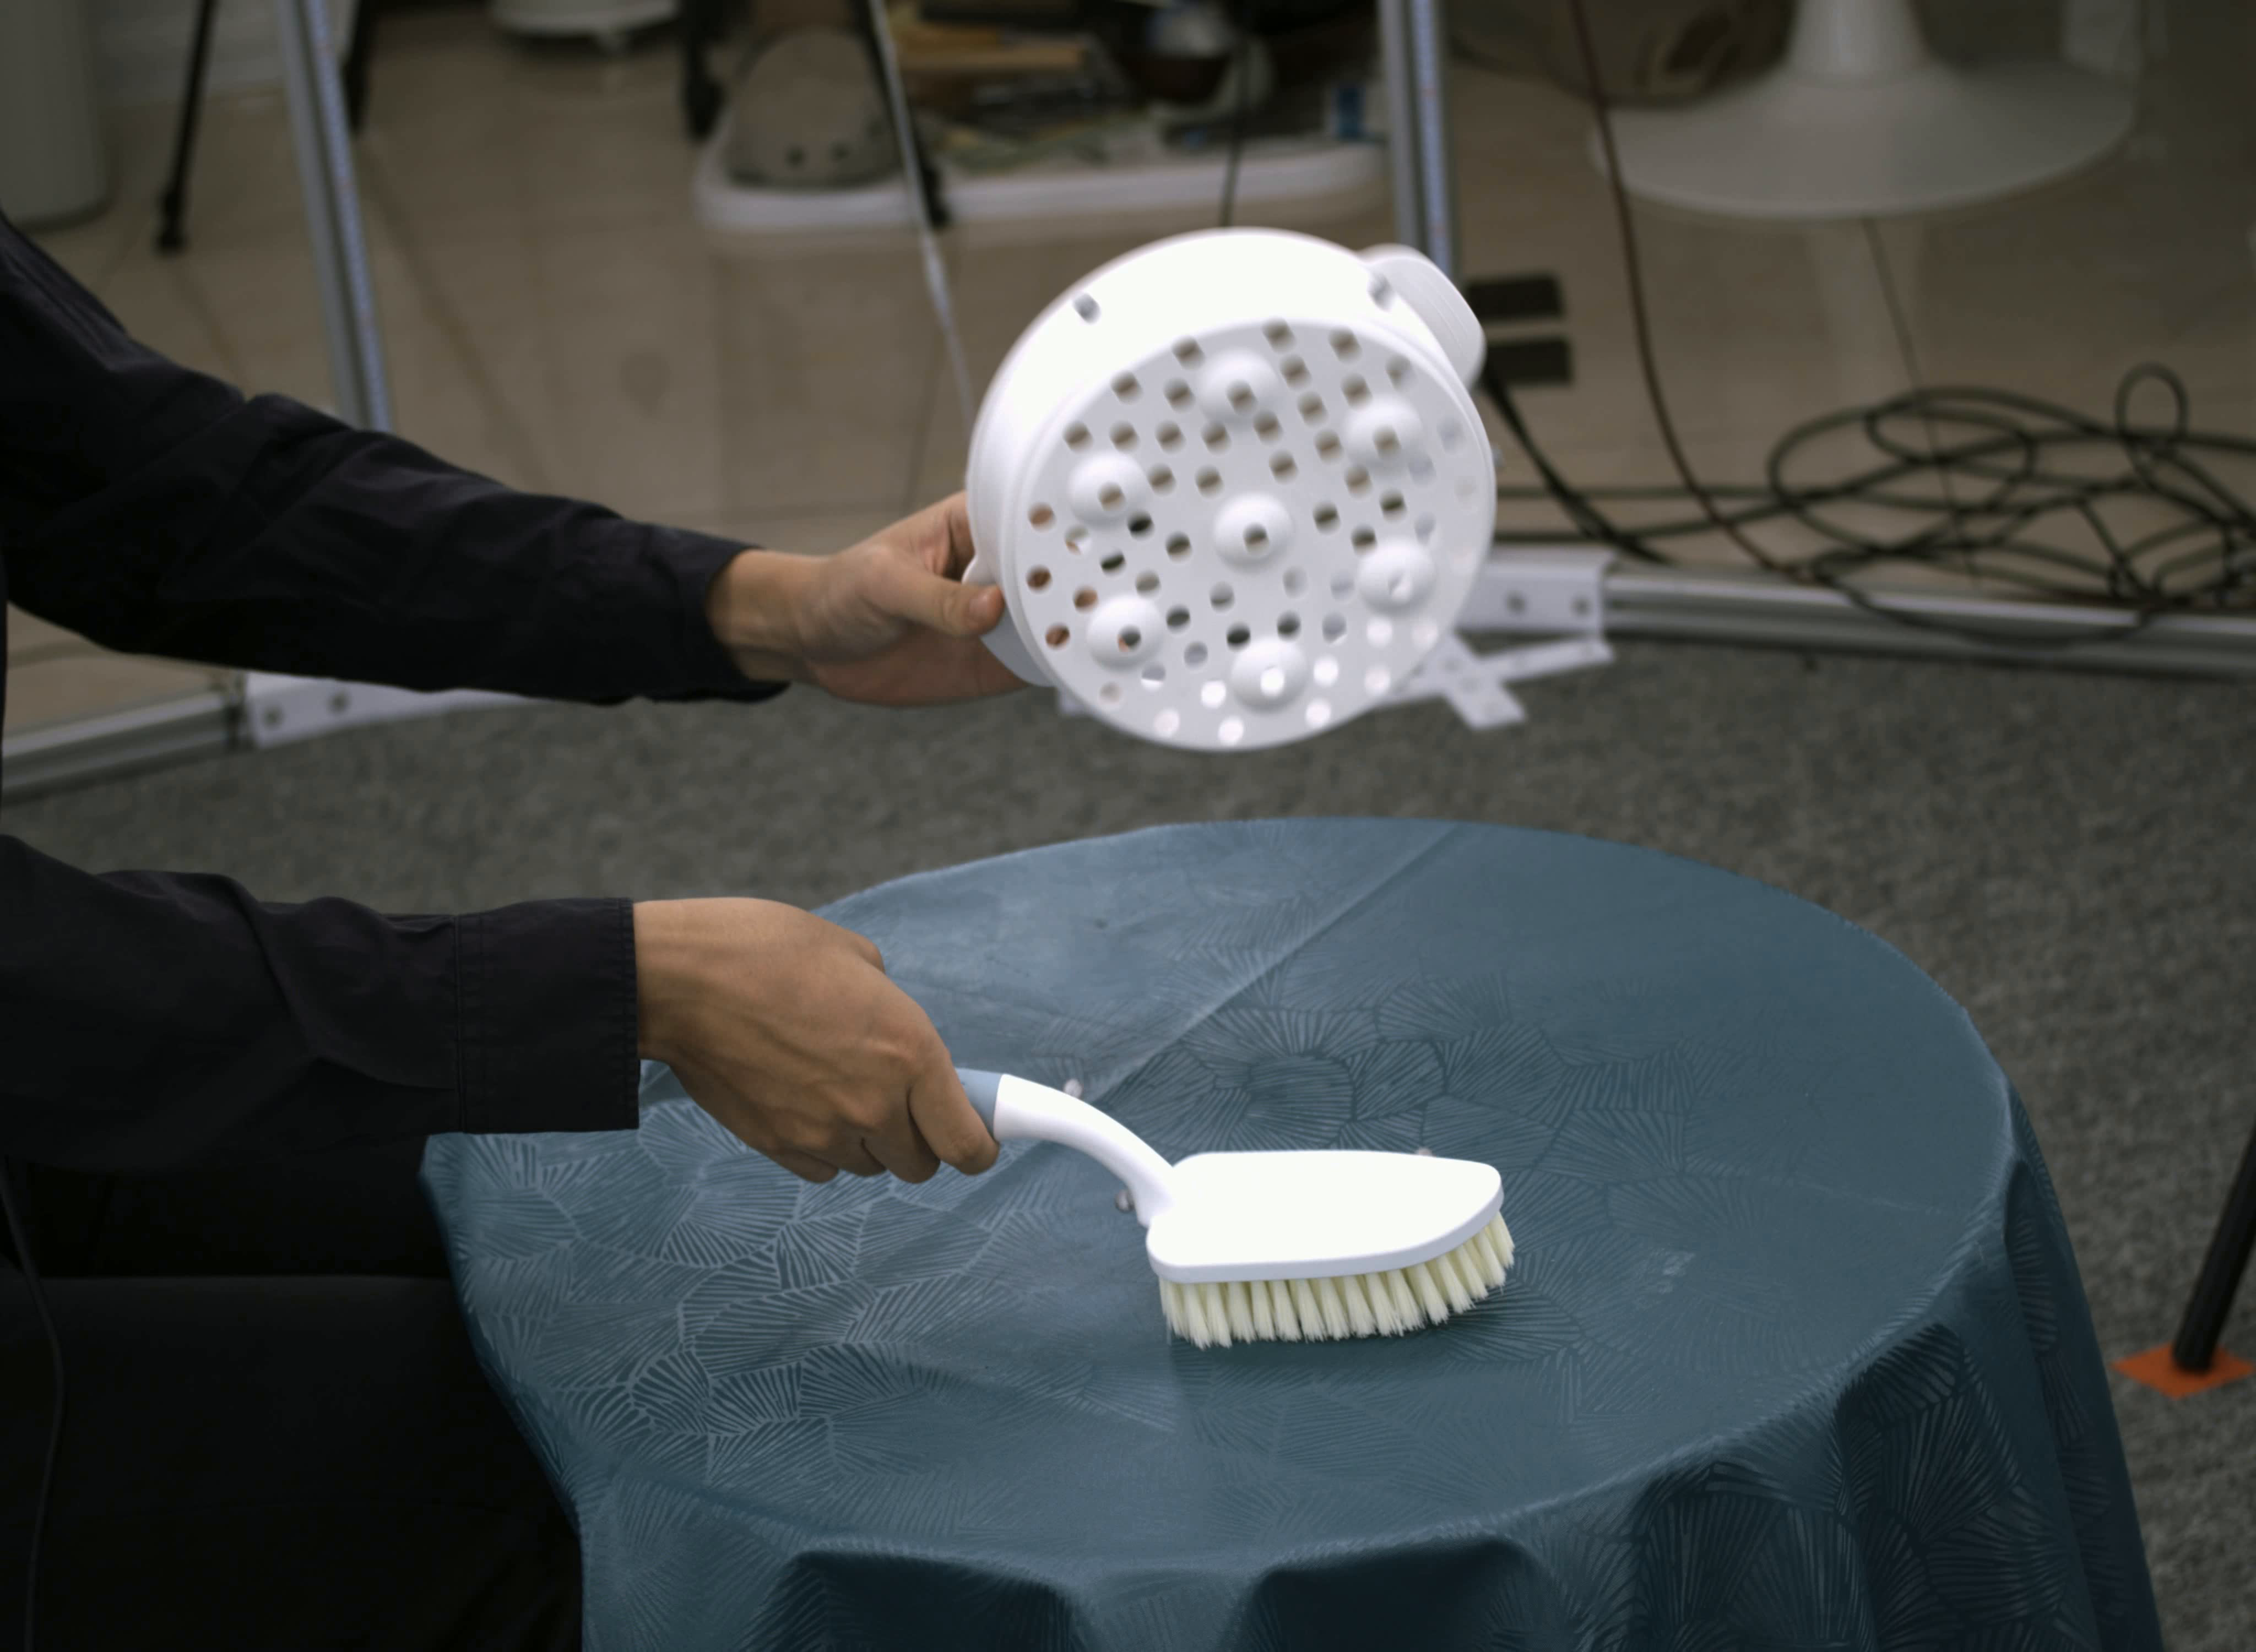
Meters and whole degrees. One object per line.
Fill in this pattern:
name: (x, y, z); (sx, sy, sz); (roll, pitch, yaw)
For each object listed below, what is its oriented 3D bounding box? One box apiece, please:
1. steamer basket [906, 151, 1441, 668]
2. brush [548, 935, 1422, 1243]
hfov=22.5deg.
steamer basket: (0.022, -0.156, 2.177); (0.231, 0.204, 0.068); (-36, 34, 10)
brush: (-0.054, 0.102, 2.082); (0.325, 0.084, 0.083); (8, -1, 6)
